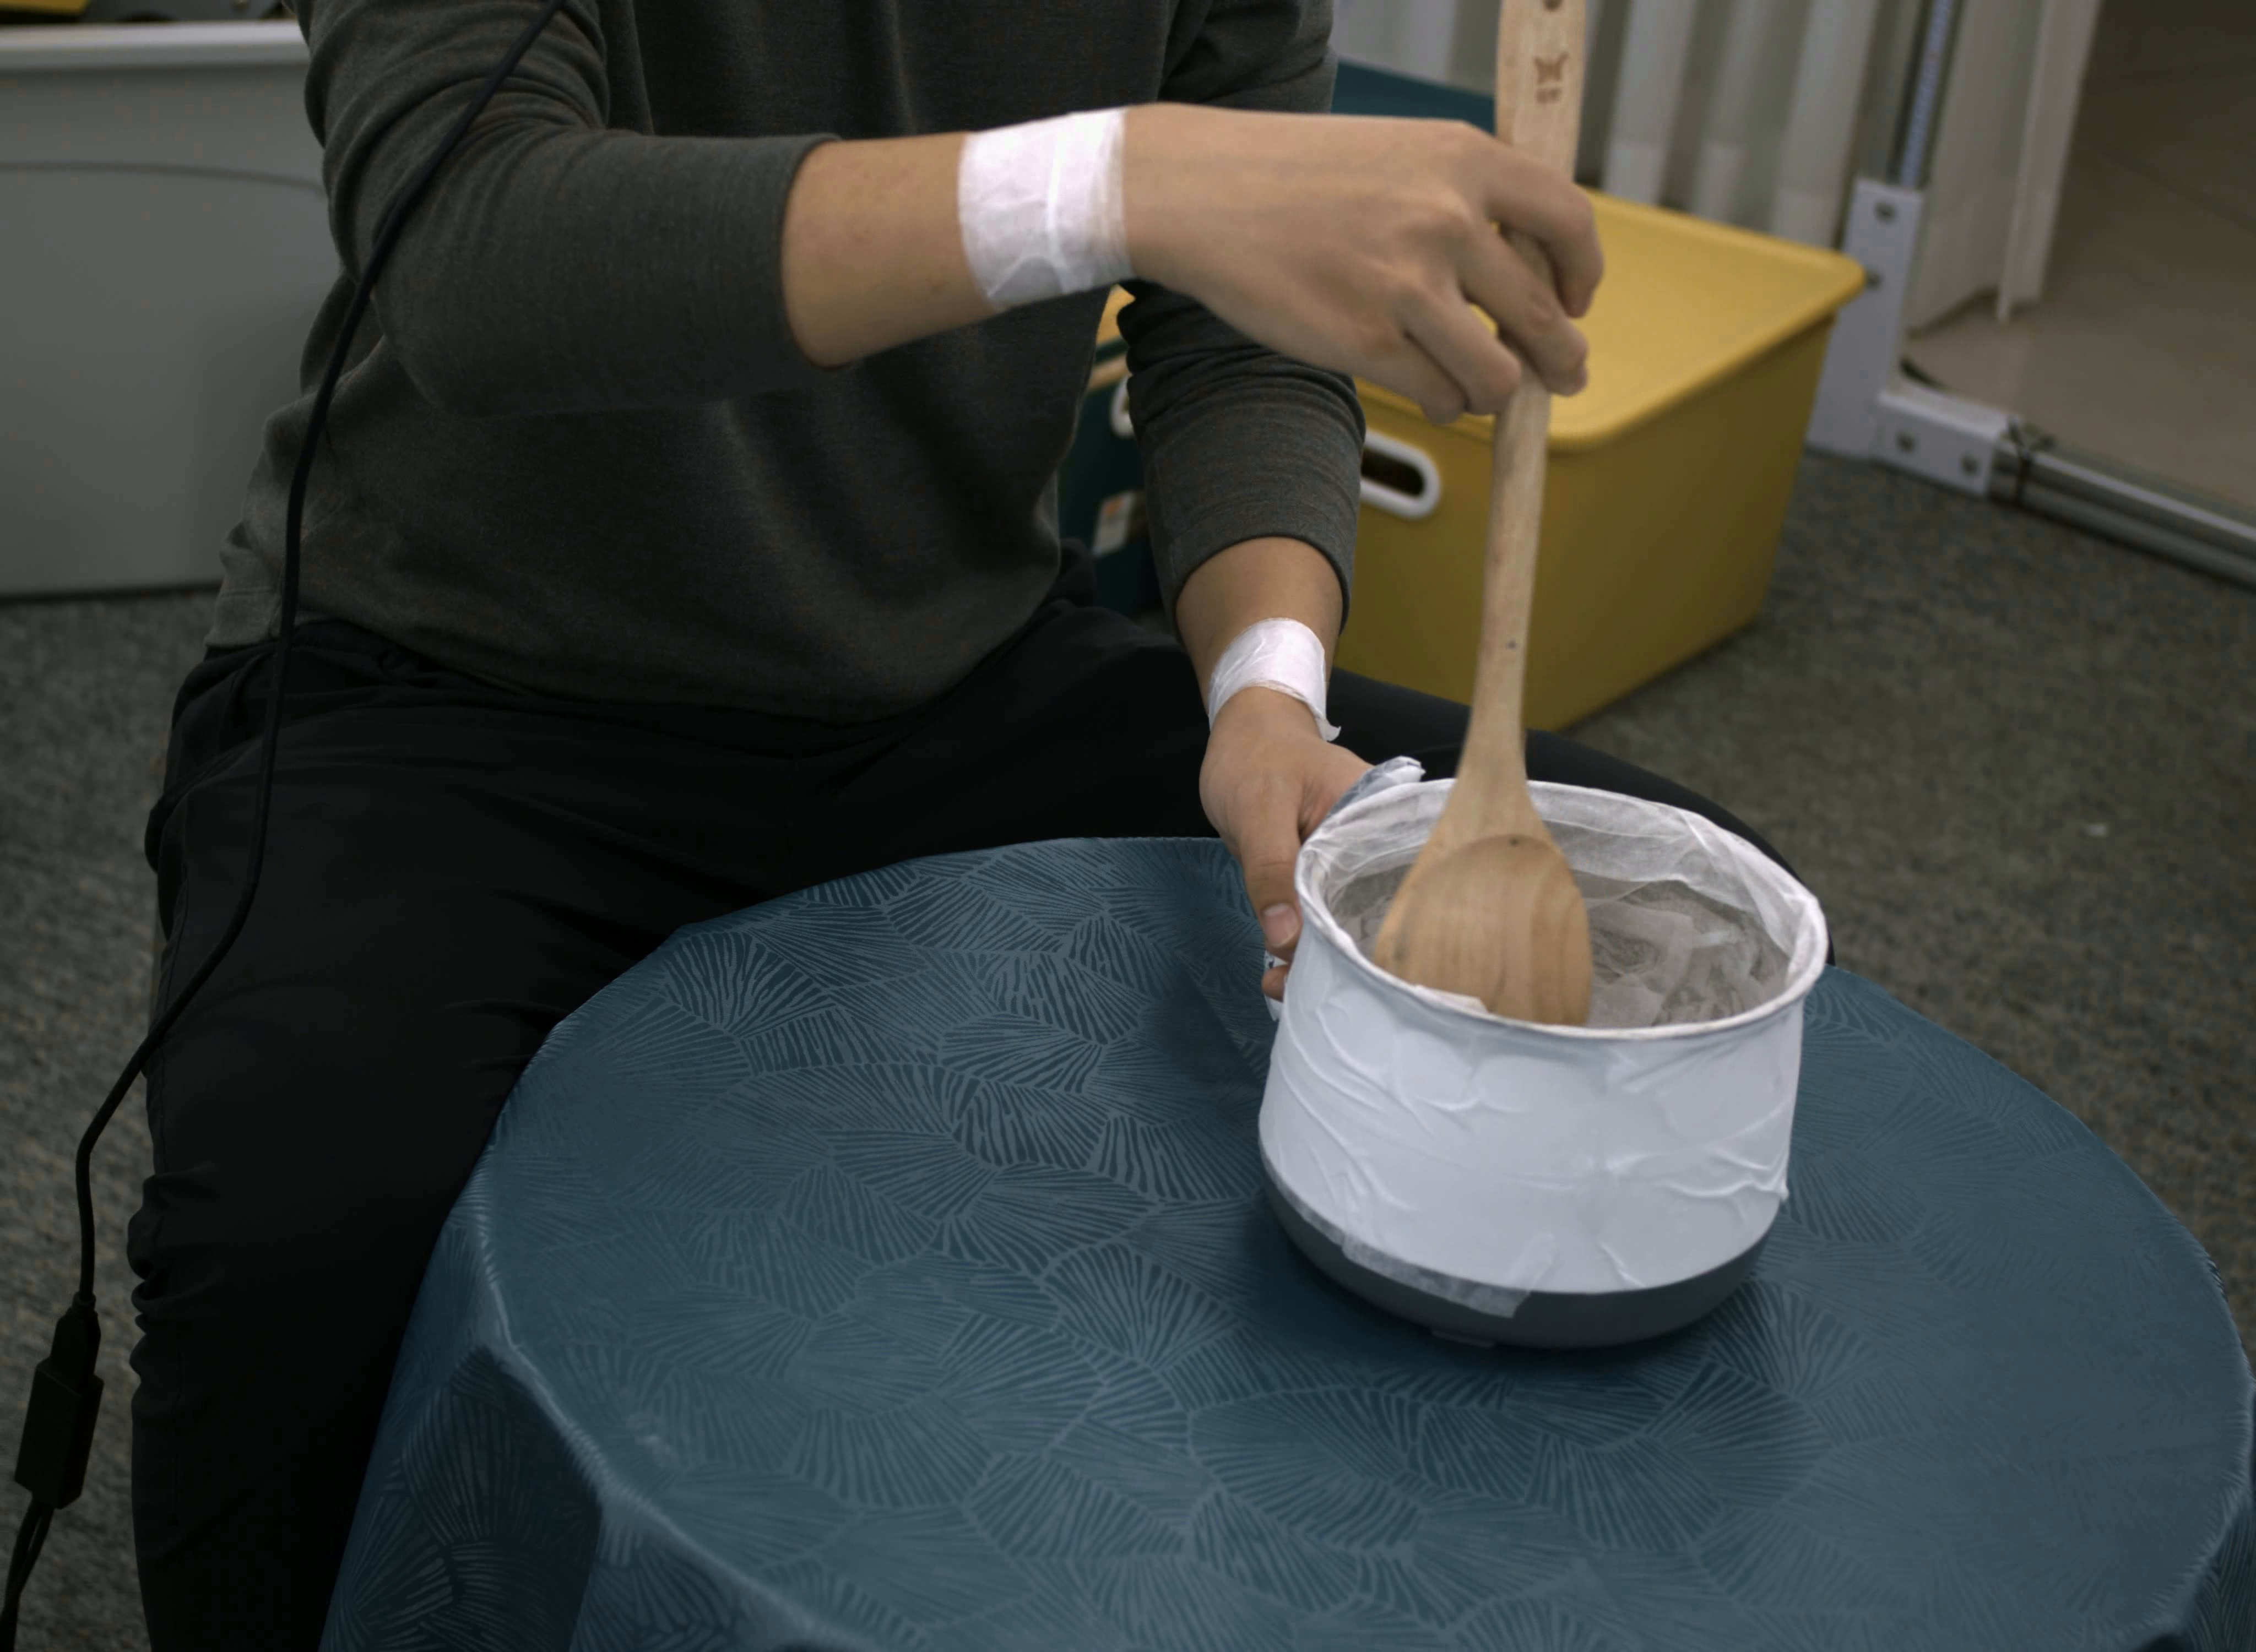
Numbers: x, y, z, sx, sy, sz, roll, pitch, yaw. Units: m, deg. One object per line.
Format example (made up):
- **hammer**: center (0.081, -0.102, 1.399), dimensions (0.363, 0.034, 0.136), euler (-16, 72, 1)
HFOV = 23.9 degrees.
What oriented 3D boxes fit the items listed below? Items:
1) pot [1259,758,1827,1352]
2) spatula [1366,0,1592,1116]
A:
- **pot**: center (0.121, 0.070, 1.792), dimensions (0.177, 0.136, 0.236), euler (-10, 30, -29)
- **spatula**: center (0.118, -0.090, 1.682), dimensions (0.095, 0.390, 0.018), euler (-13, 25, -36)
